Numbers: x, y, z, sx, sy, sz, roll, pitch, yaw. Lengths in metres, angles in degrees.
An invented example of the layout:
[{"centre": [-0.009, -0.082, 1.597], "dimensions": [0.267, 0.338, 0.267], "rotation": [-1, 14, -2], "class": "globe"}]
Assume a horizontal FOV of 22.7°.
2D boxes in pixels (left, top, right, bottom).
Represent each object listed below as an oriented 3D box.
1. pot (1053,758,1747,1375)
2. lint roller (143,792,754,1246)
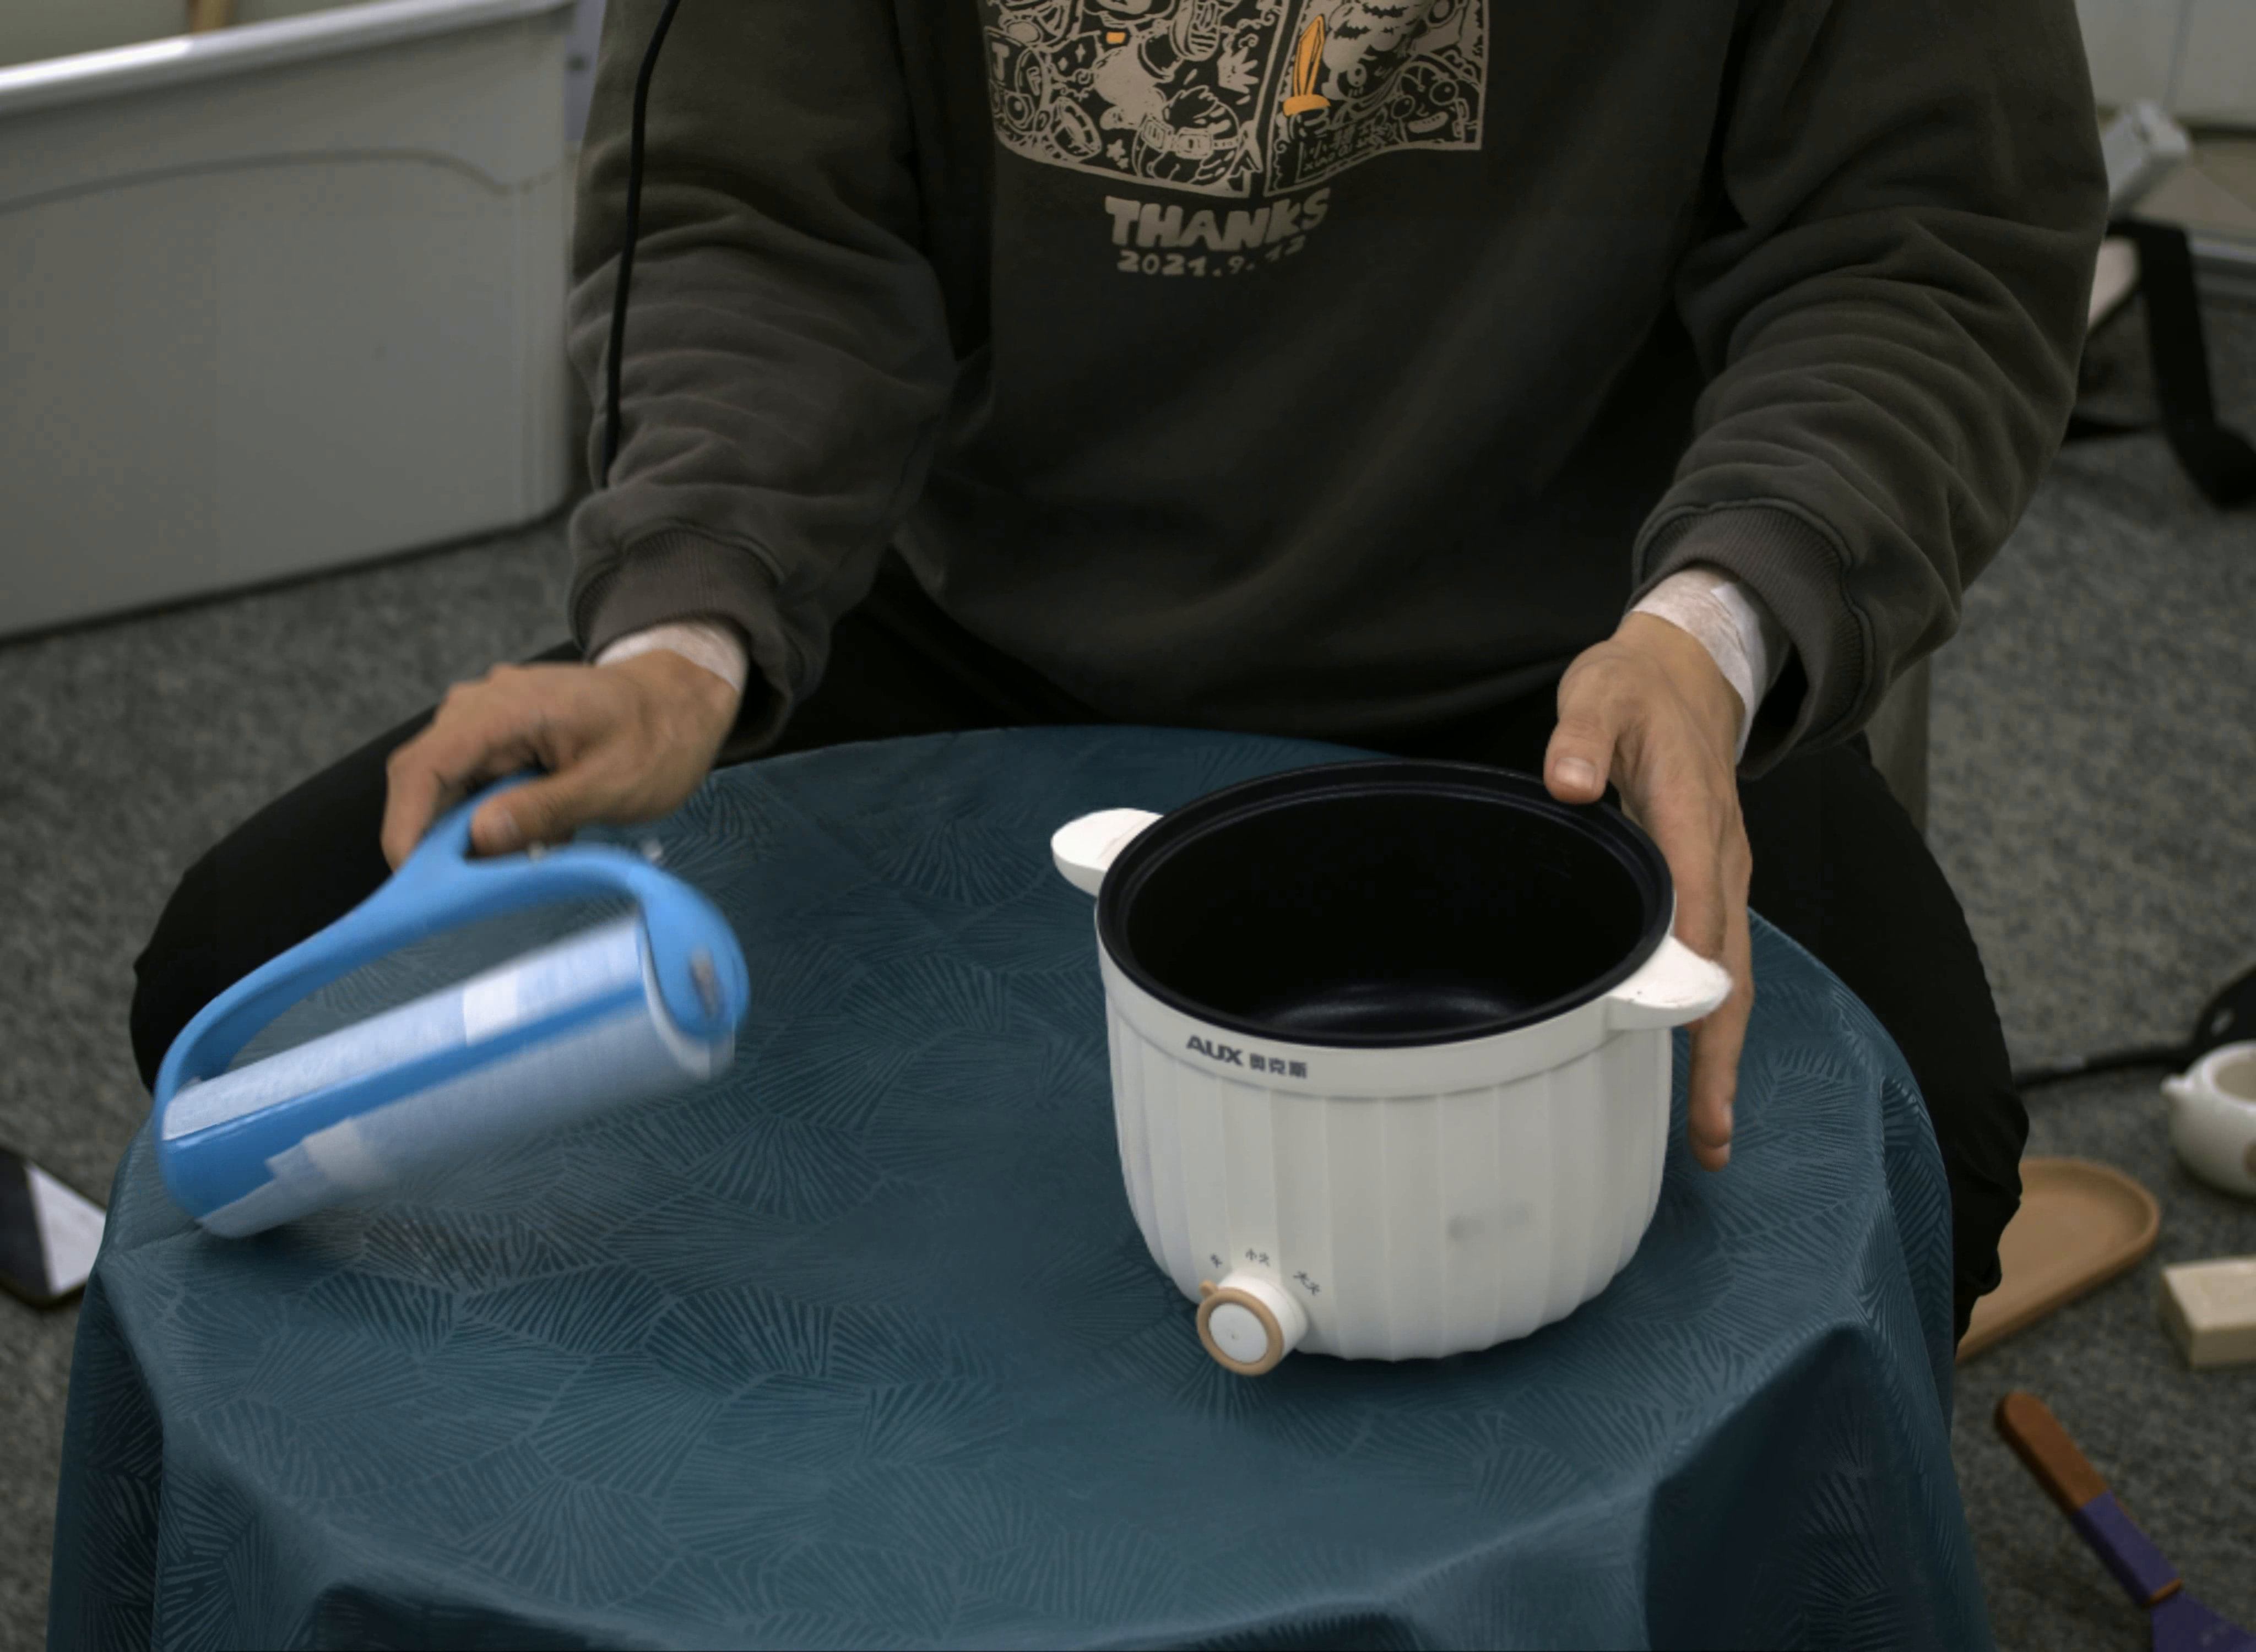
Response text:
[{"centre": [0.083, 0.081, 1.781], "dimensions": [0.239, 0.141, 0.193], "rotation": [11, 27, 29], "class": "pot"}, {"centre": [-0.219, 0.044, 1.862], "dimensions": [0.226, 0.067, 0.184], "rotation": [-19, 42, 22], "class": "lint roller"}]
